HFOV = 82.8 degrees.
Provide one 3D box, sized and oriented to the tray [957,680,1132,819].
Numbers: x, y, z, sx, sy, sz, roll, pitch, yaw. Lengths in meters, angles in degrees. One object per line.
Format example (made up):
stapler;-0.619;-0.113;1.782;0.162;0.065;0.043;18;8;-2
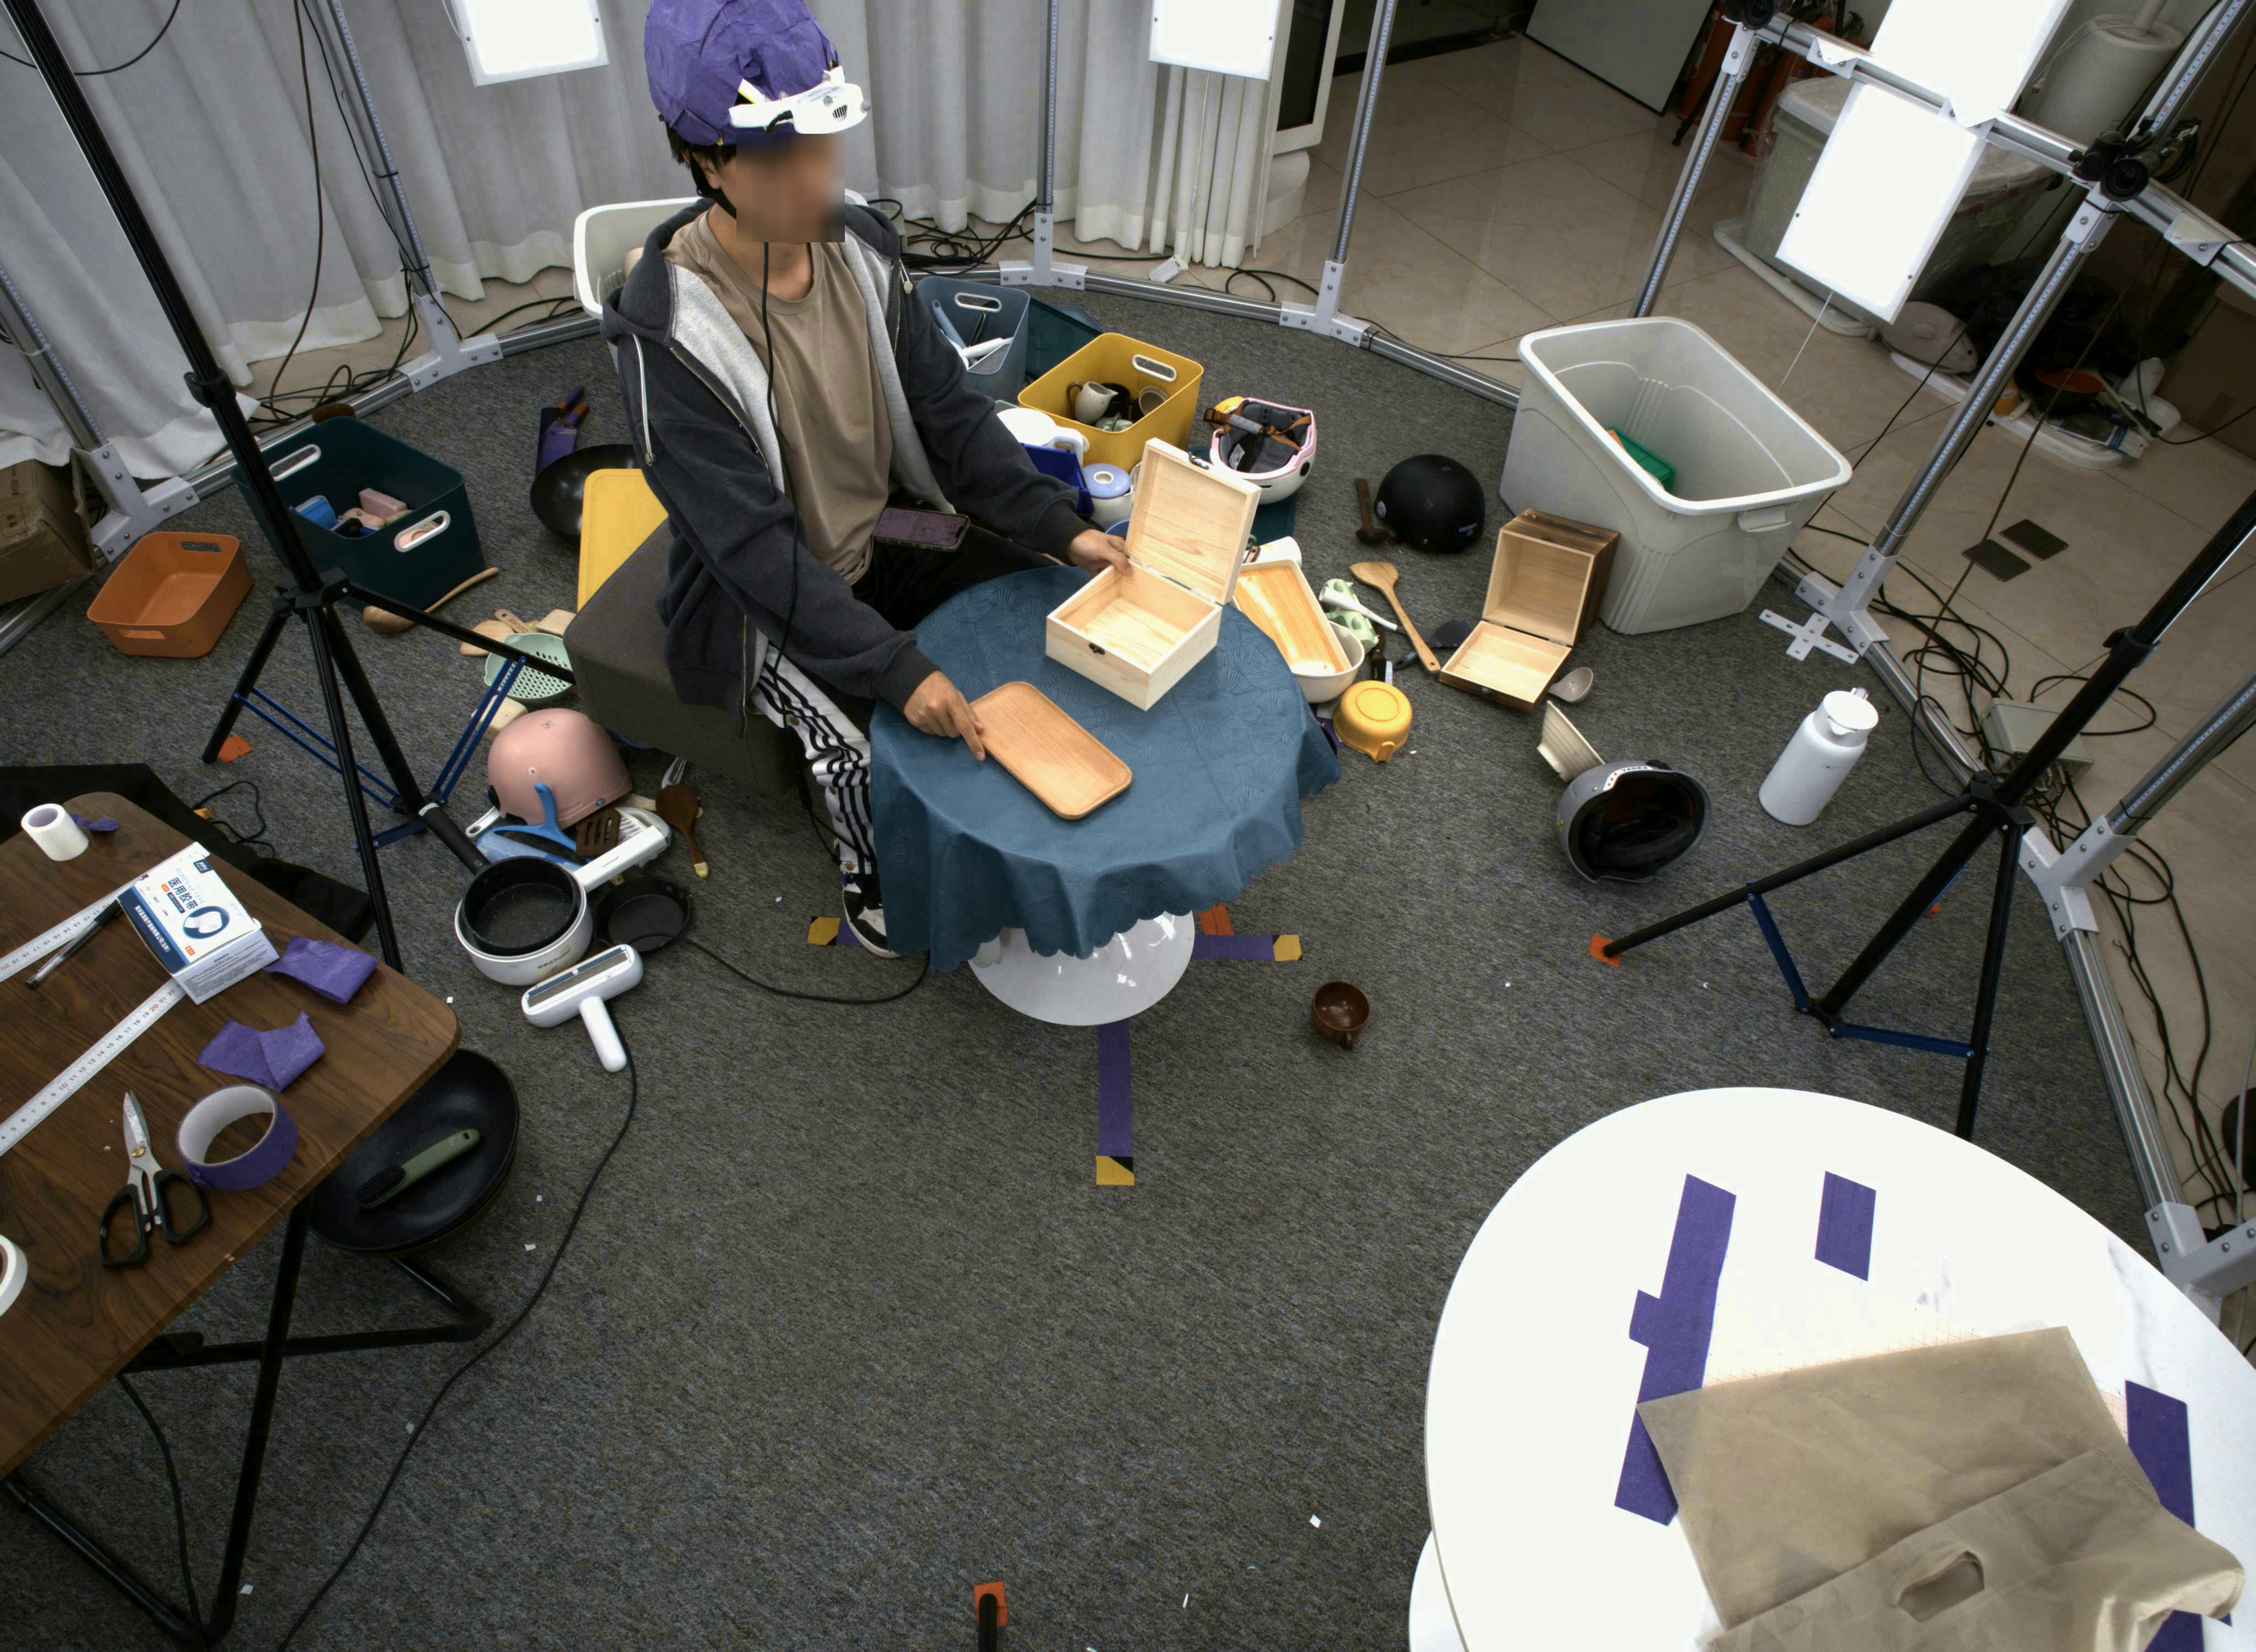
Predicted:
tray;-0.114;-0.106;1.736;0.131;0.022;0.255;-30;57;-31

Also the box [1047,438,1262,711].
box;0.033;-0.359;1.823;0.184;0.247;0.268;28;52;22
